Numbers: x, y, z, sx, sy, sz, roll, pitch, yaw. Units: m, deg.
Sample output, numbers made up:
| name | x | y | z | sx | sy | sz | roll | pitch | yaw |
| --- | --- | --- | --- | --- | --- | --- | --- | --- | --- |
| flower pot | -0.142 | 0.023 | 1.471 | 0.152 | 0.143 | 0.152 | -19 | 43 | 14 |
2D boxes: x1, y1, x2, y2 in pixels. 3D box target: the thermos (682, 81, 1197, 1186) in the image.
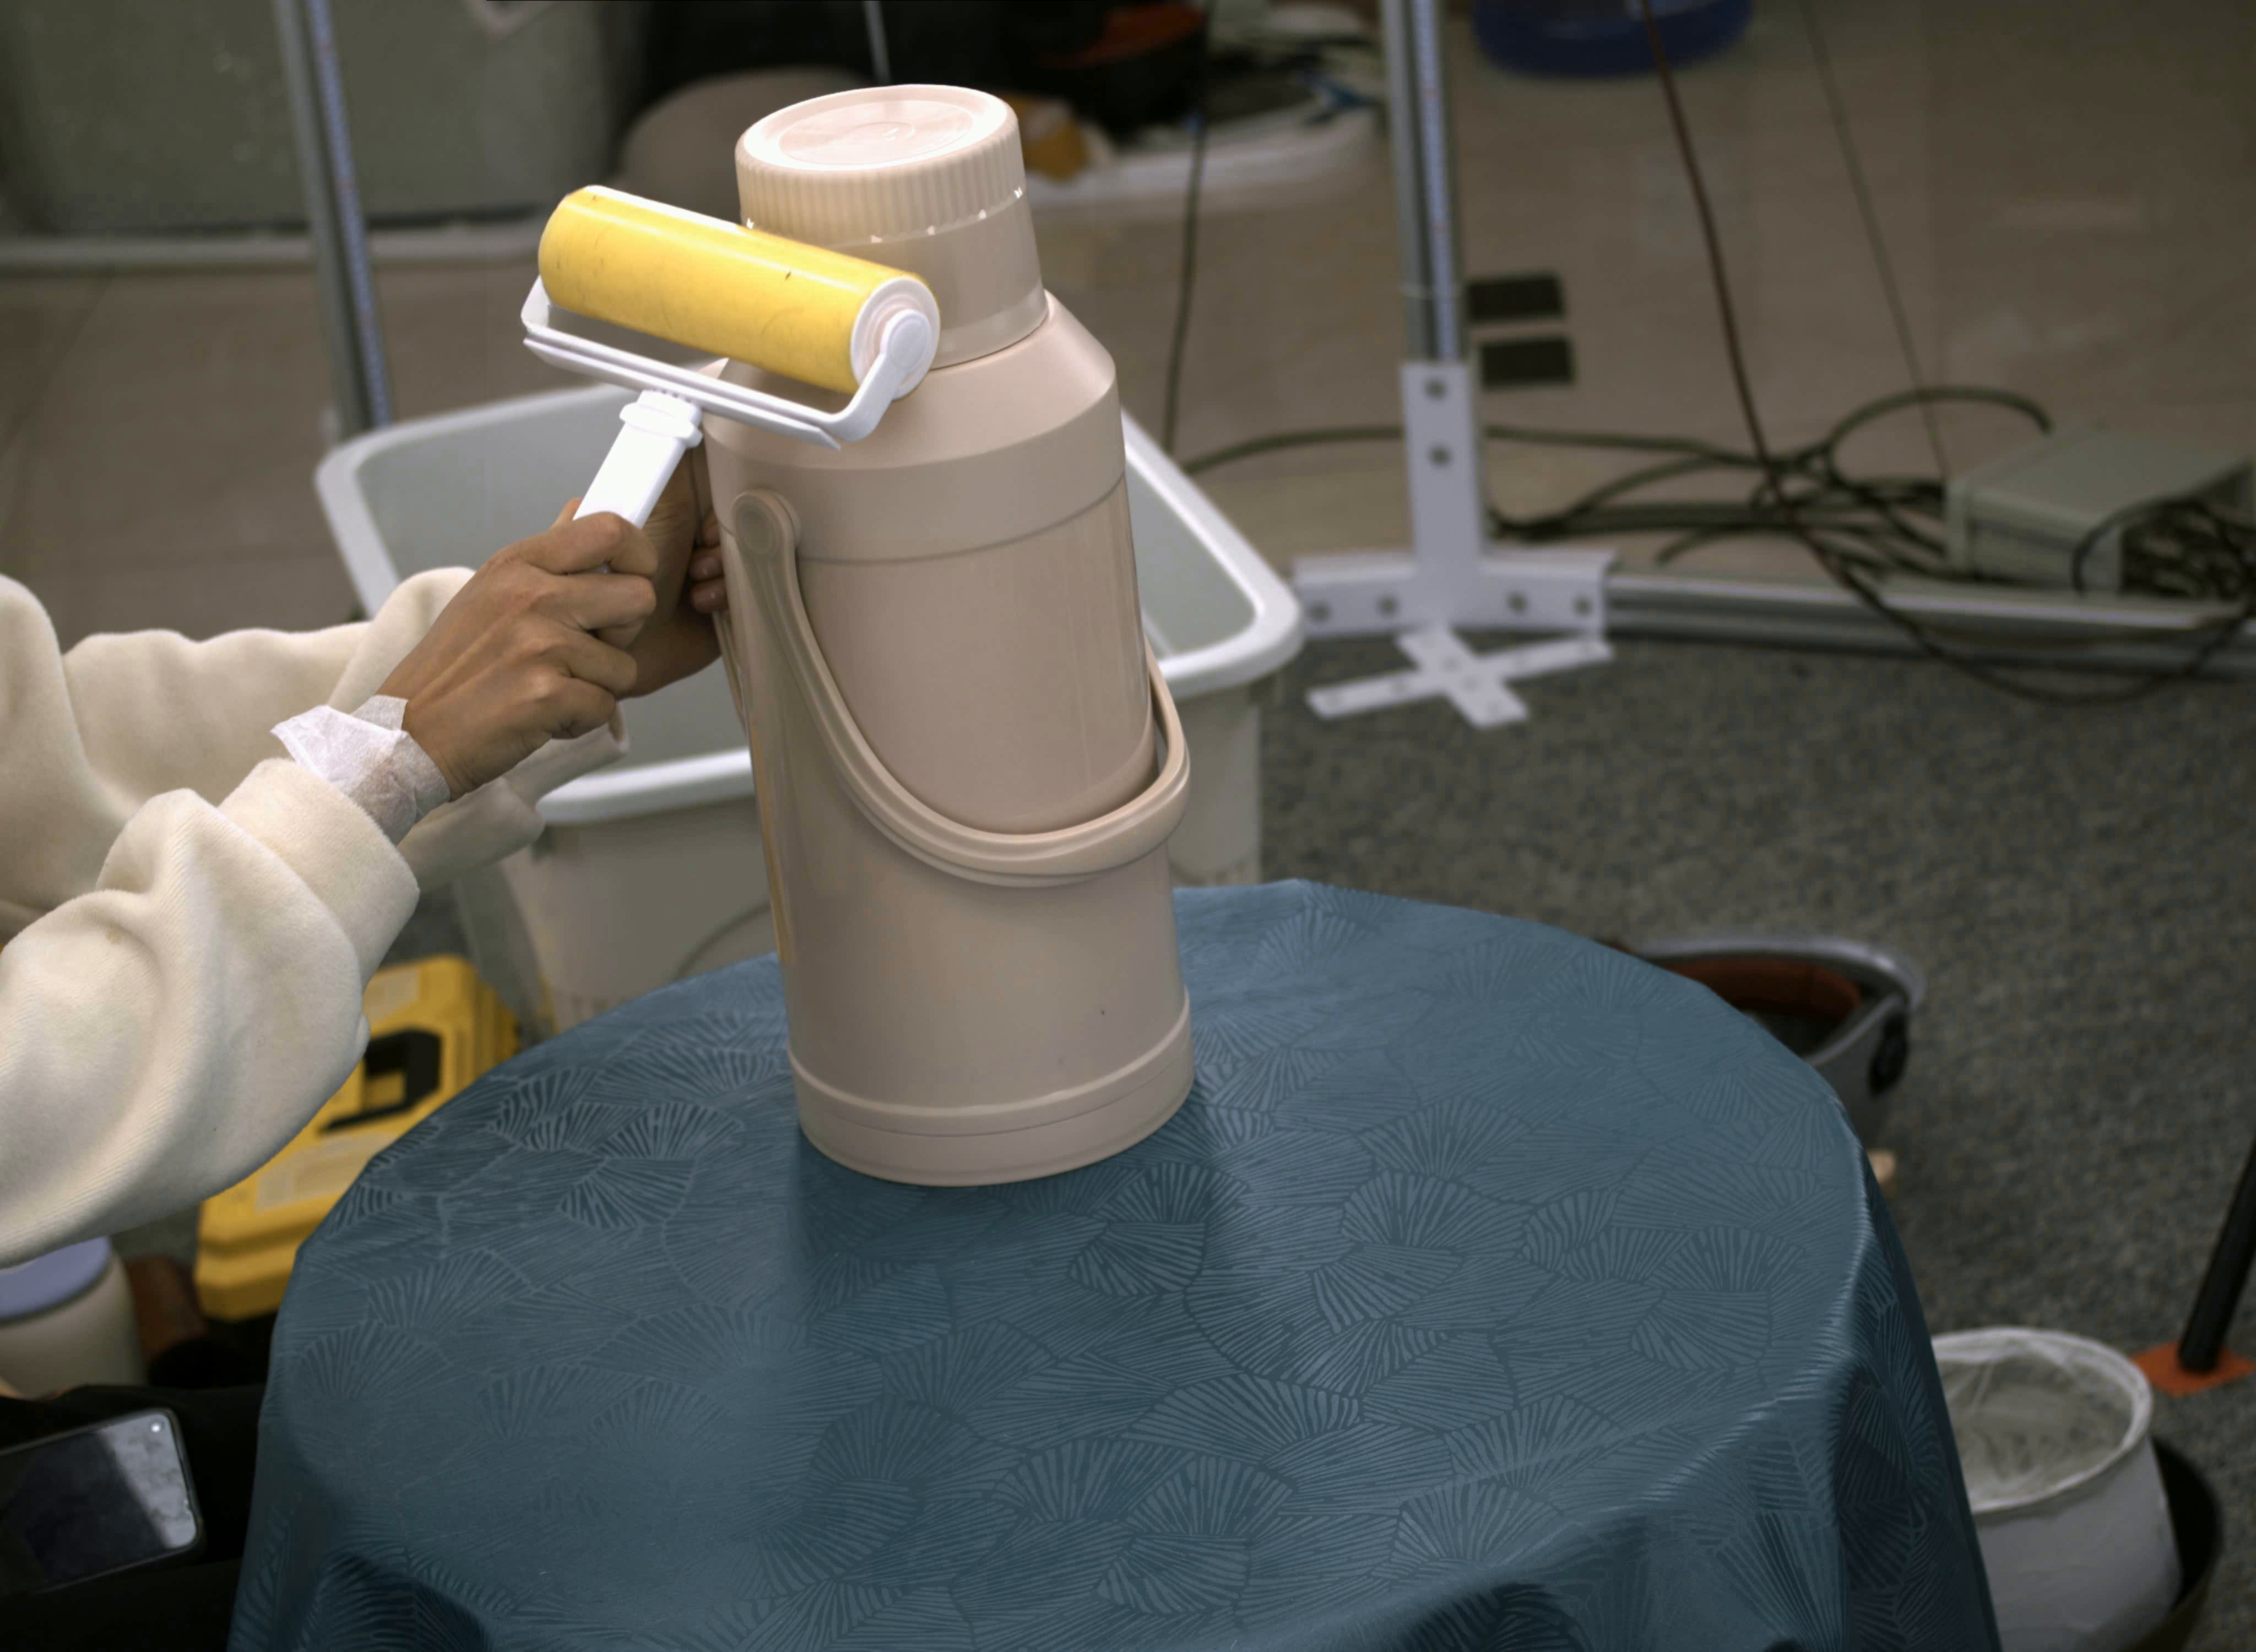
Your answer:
| name | x | y | z | sx | sy | sz | roll | pitch | yaw |
| --- | --- | --- | --- | --- | --- | --- | --- | --- | --- |
| thermos | -0.081 | -0.077 | 2.155 | 0.205 | 0.413 | 0.173 | 15 | 34 | 38 |

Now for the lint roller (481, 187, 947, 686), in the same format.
| name | x | y | z | sx | sy | sz | roll | pitch | yaw |
| --- | --- | --- | --- | --- | --- | --- | --- | --- | --- |
| lint roller | -0.177 | -0.137 | 2.003 | 0.173 | 0.052 | 0.190 | 19 | 64 | 37 |
